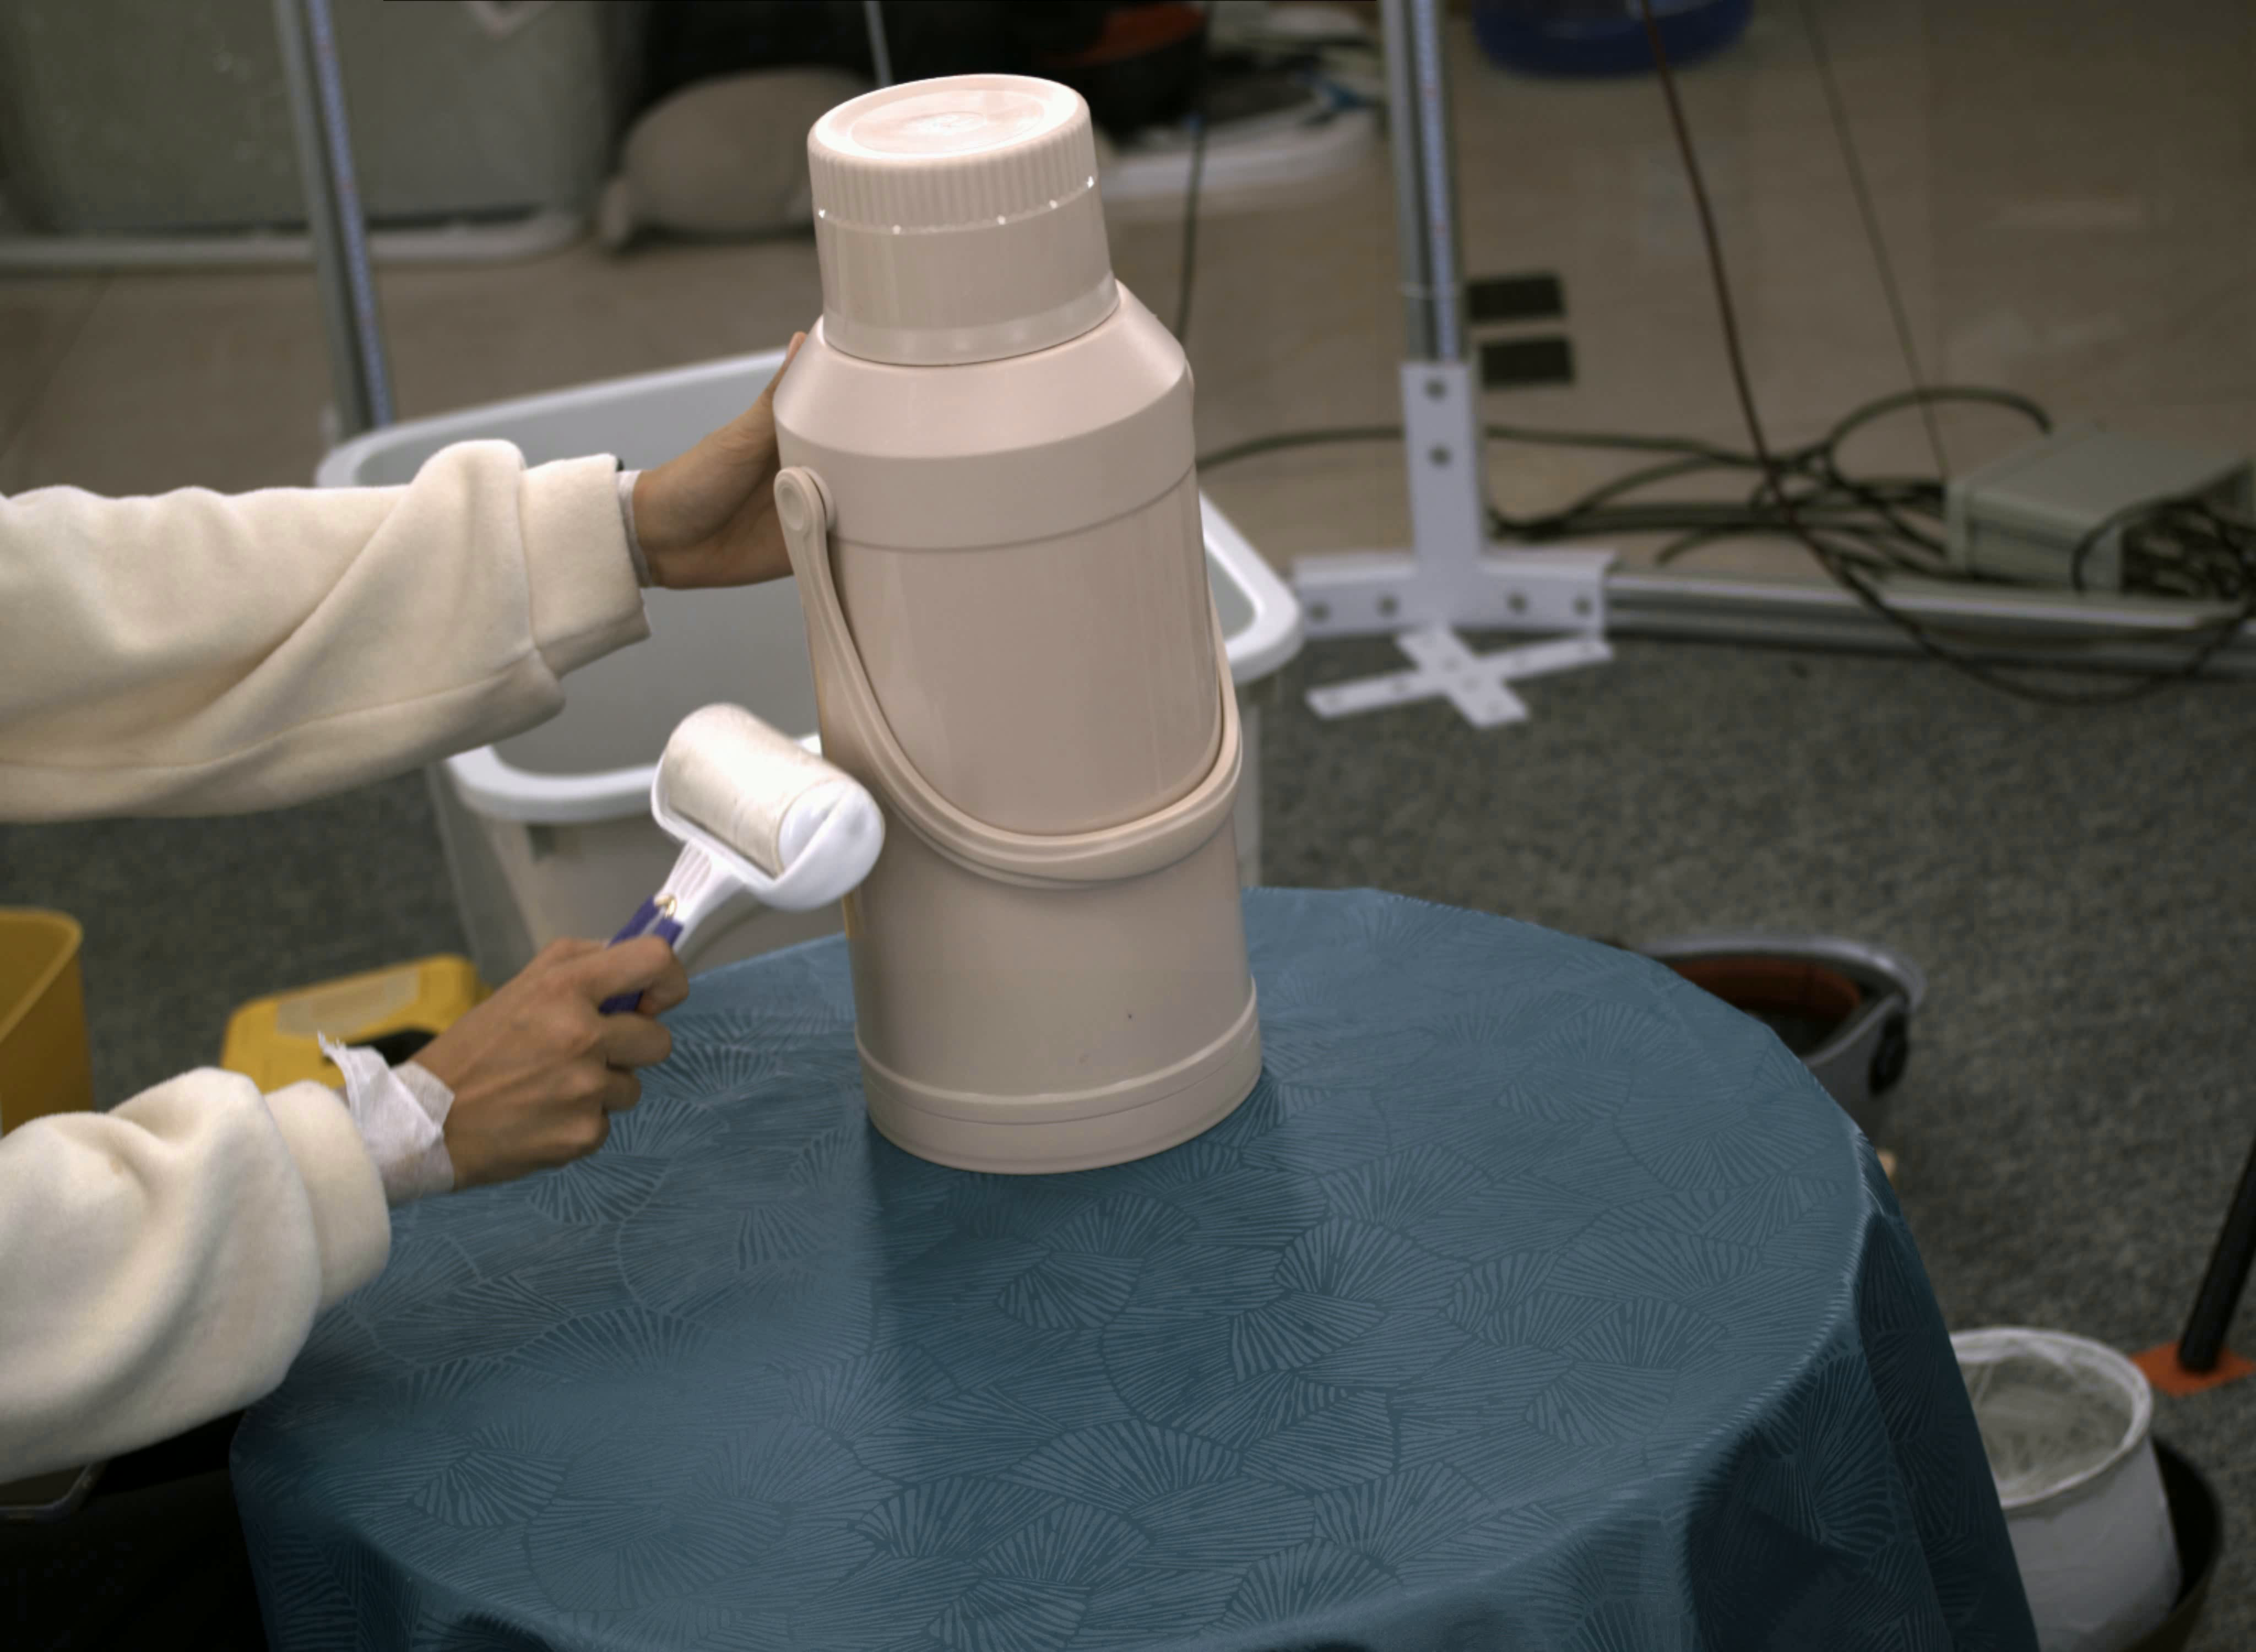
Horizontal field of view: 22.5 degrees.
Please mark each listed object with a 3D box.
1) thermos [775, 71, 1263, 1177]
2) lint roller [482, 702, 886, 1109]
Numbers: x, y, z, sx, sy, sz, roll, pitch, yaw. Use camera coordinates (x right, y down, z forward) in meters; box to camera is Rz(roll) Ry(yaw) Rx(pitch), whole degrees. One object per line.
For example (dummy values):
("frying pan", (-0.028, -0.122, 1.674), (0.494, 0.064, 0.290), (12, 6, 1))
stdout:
("thermos", (-0.052, -0.082, 2.159), (0.174, 0.413, 0.205), (-23, 30, -29))
("lint roller", (-0.181, 0.030, 2.108), (0.180, 0.051, 0.131), (-40, 32, -10))
